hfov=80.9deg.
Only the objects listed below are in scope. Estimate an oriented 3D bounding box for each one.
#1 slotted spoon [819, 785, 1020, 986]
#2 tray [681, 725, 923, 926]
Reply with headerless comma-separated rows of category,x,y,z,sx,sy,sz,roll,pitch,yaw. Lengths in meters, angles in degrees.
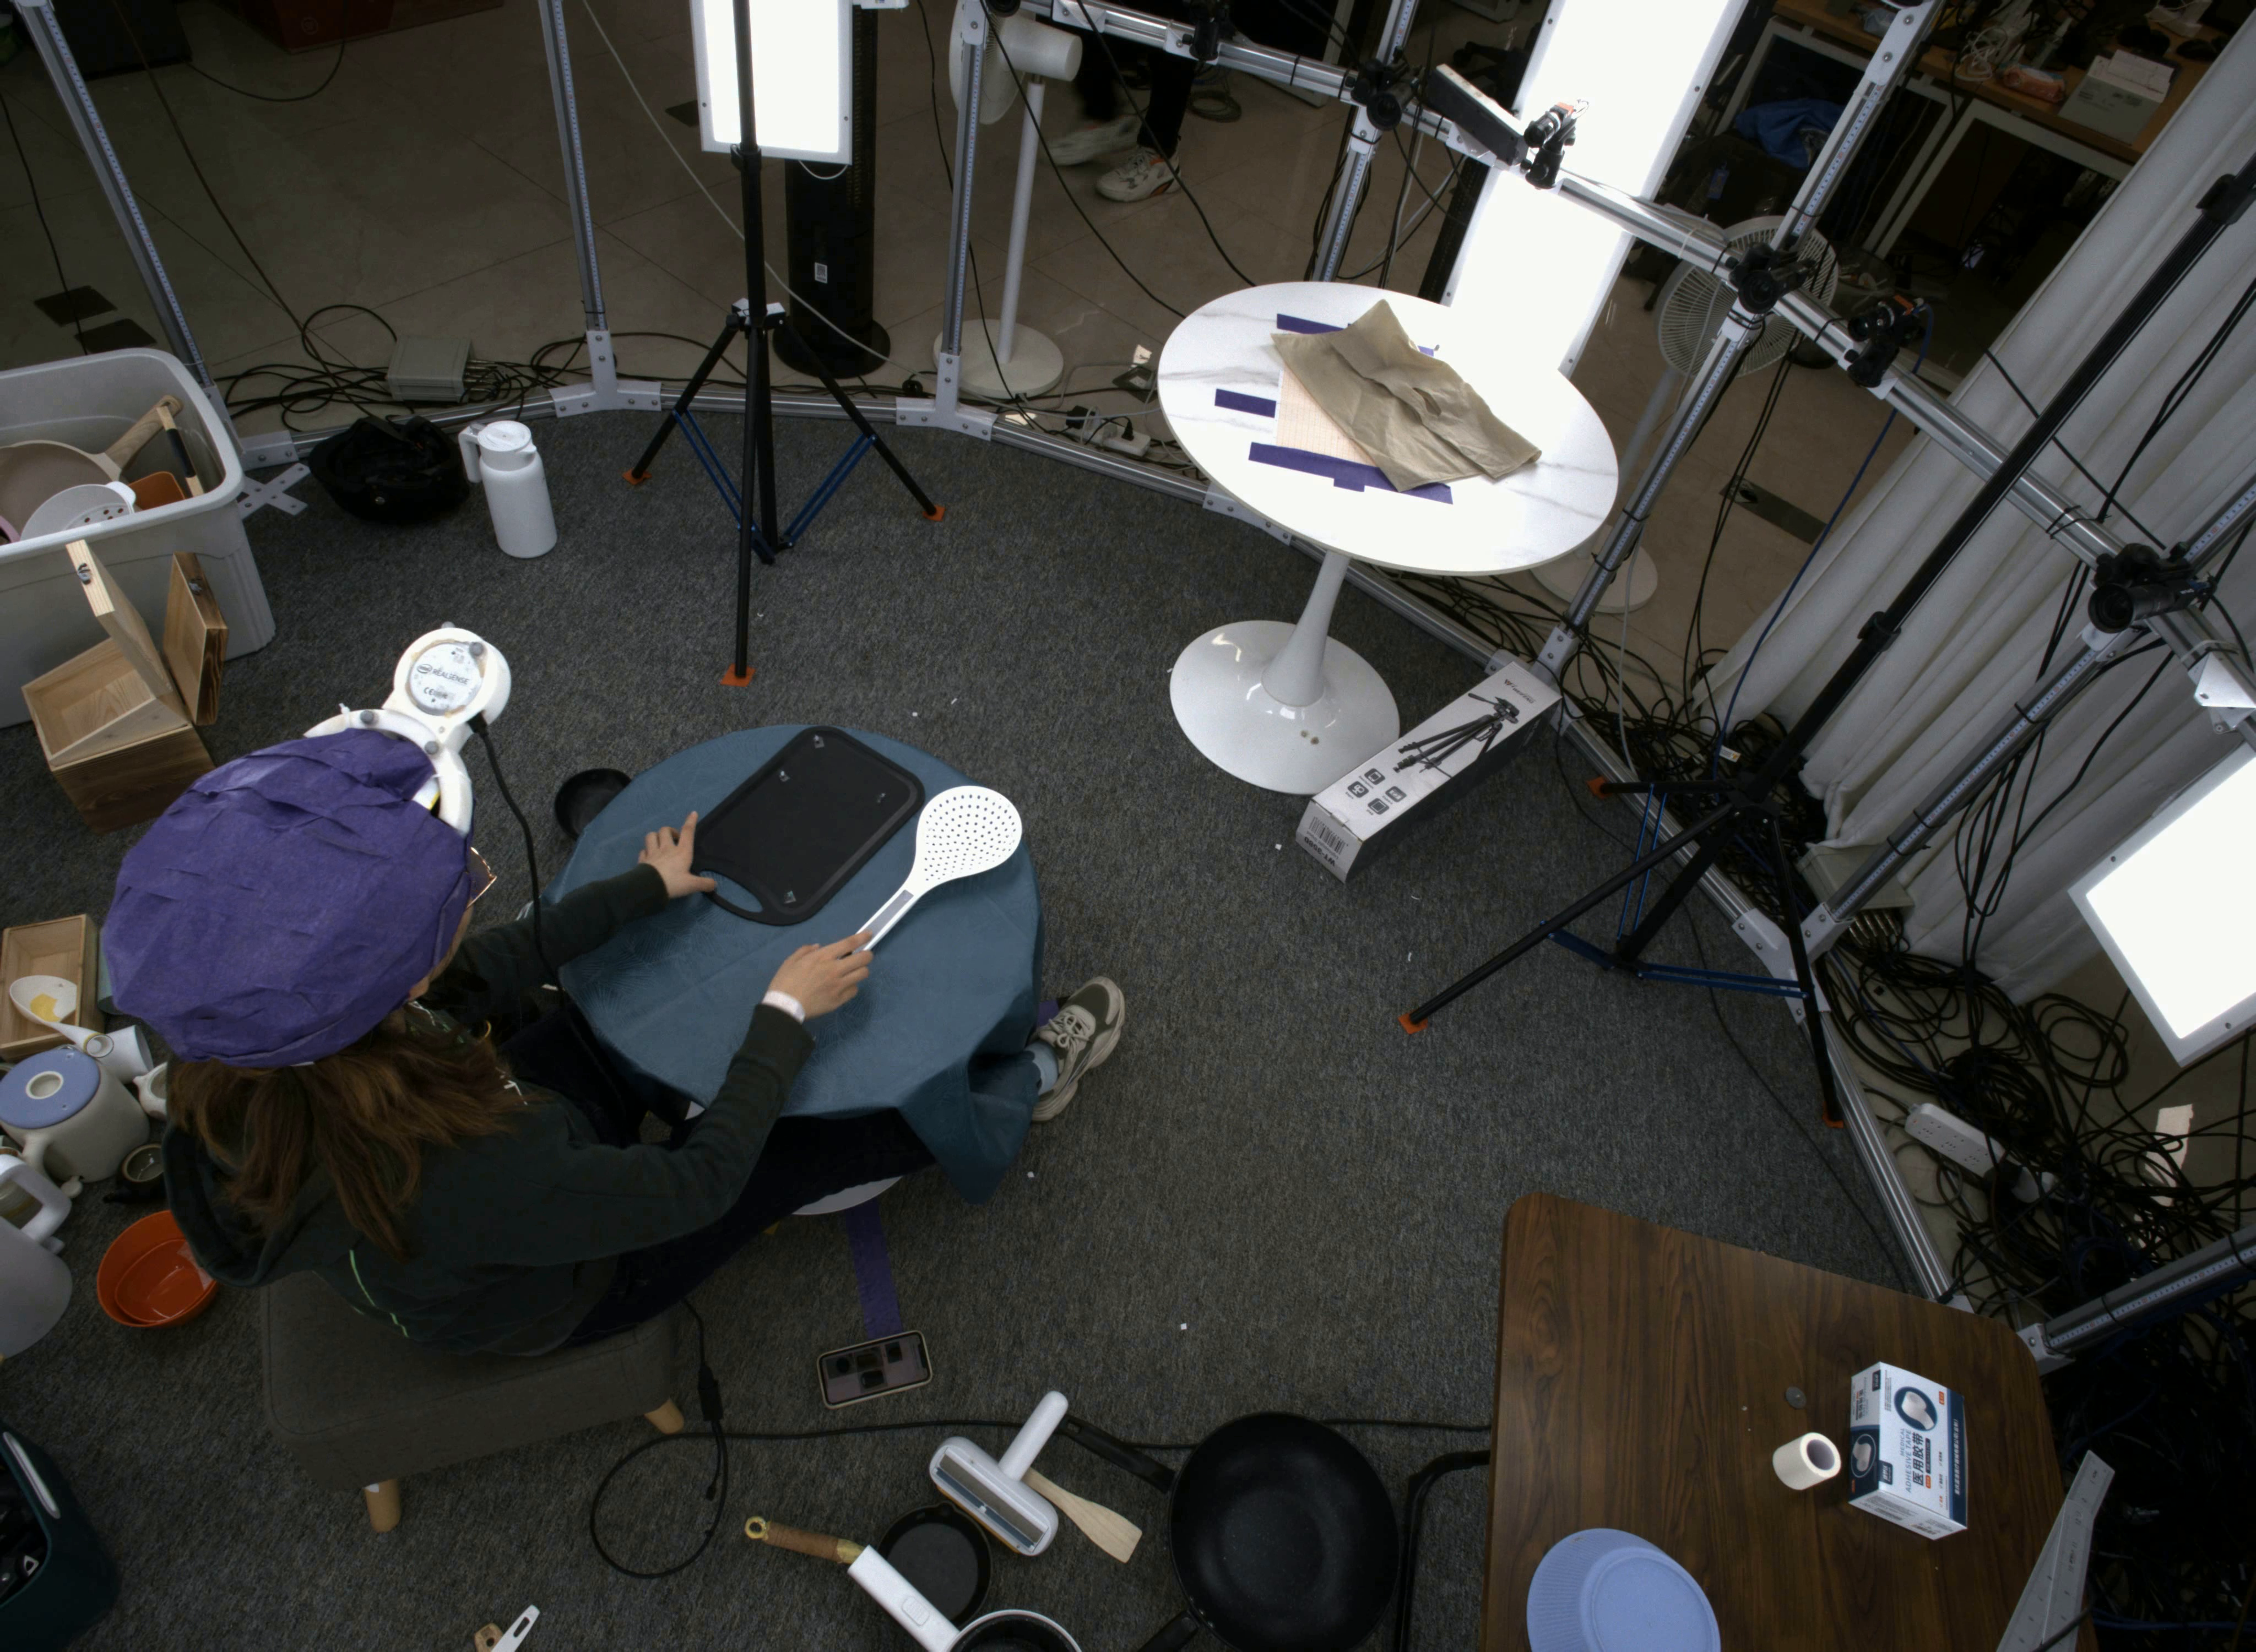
slotted spoon,-0.272,0.075,1.683,0.133,0.047,0.349,33,54,14
tray,-0.434,-0.005,1.726,0.207,0.010,0.324,31,53,10
